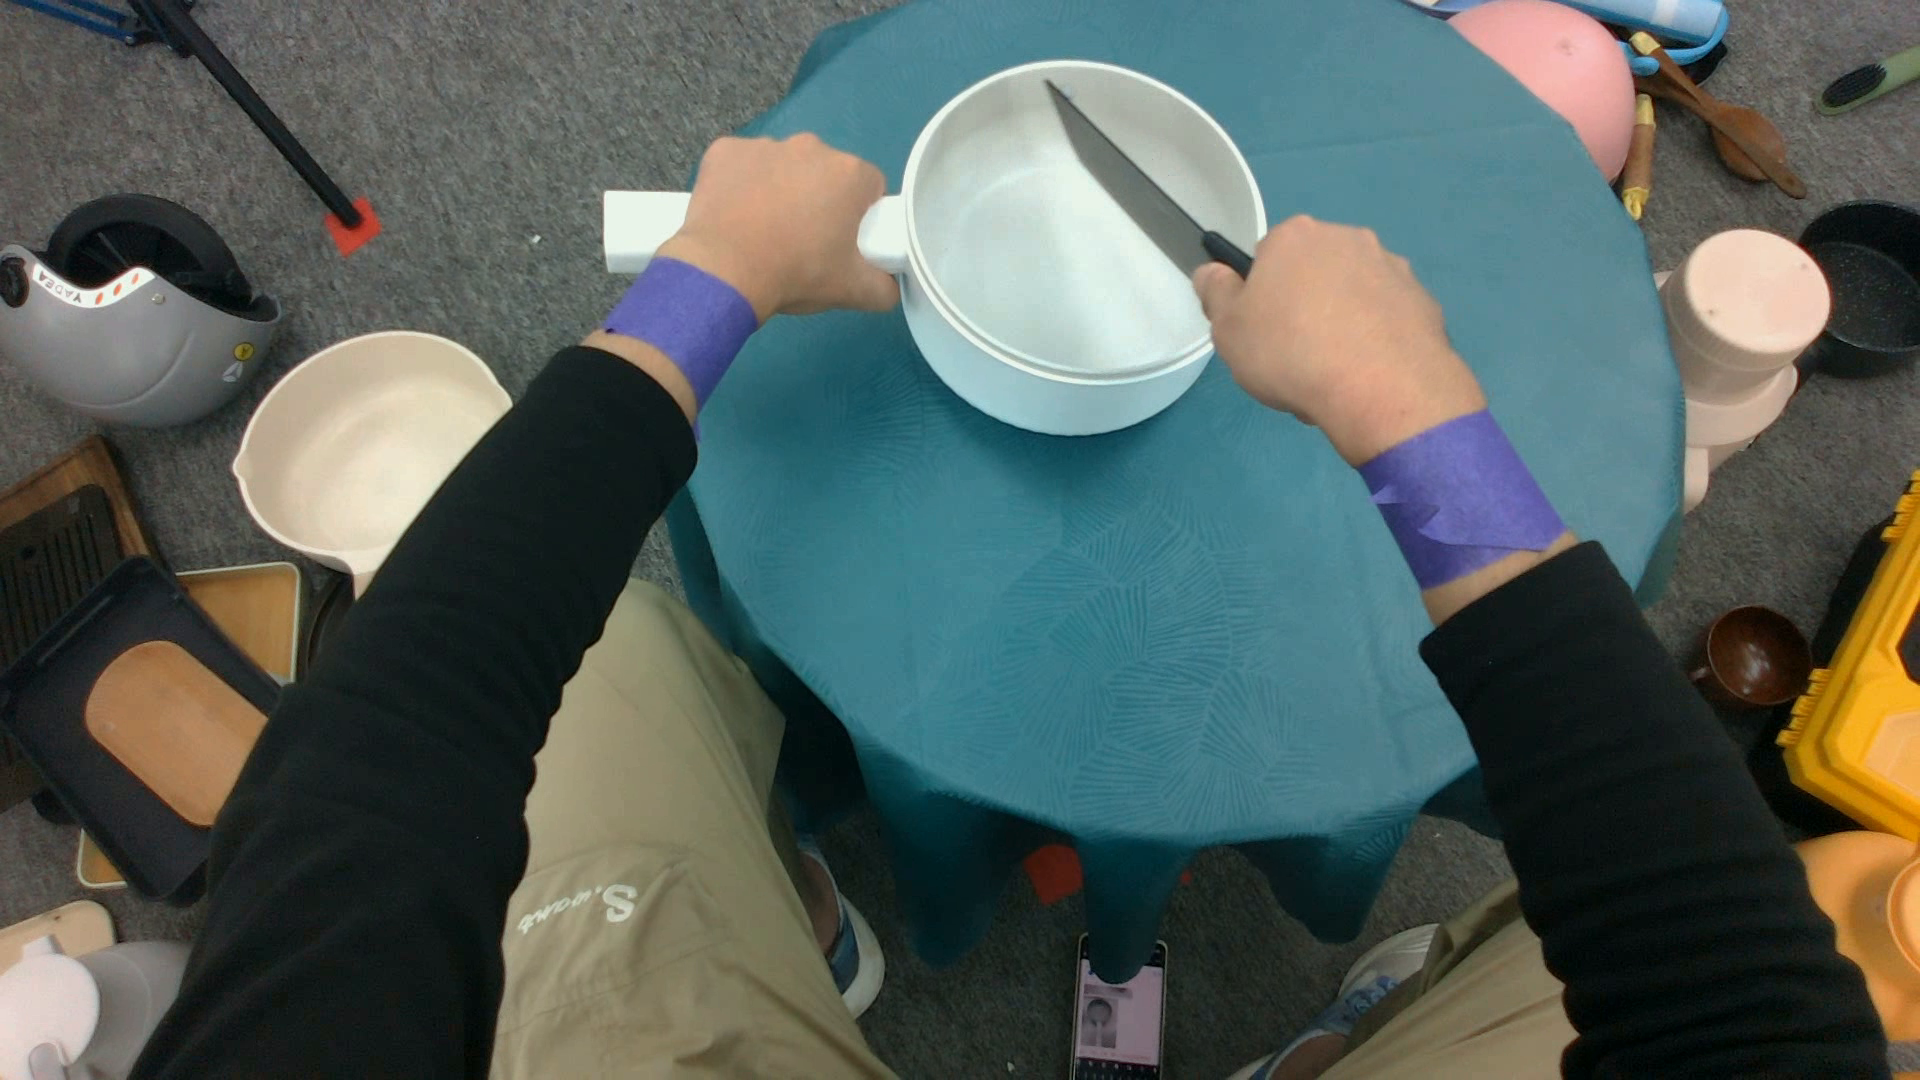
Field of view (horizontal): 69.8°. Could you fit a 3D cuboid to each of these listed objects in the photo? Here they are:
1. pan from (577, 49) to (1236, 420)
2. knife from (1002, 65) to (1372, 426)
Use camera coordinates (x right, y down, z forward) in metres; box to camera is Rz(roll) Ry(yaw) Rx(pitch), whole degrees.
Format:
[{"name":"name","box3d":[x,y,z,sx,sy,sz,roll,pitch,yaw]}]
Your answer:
[{"name":"pan","box3d":[-0.028,-0.165,0.778,0.355,0.101,0.202,-3,70,-7]},{"name":"knife","box3d":[0.096,-0.144,0.653,0.021,0.081,0.303,-35,45,1]}]
